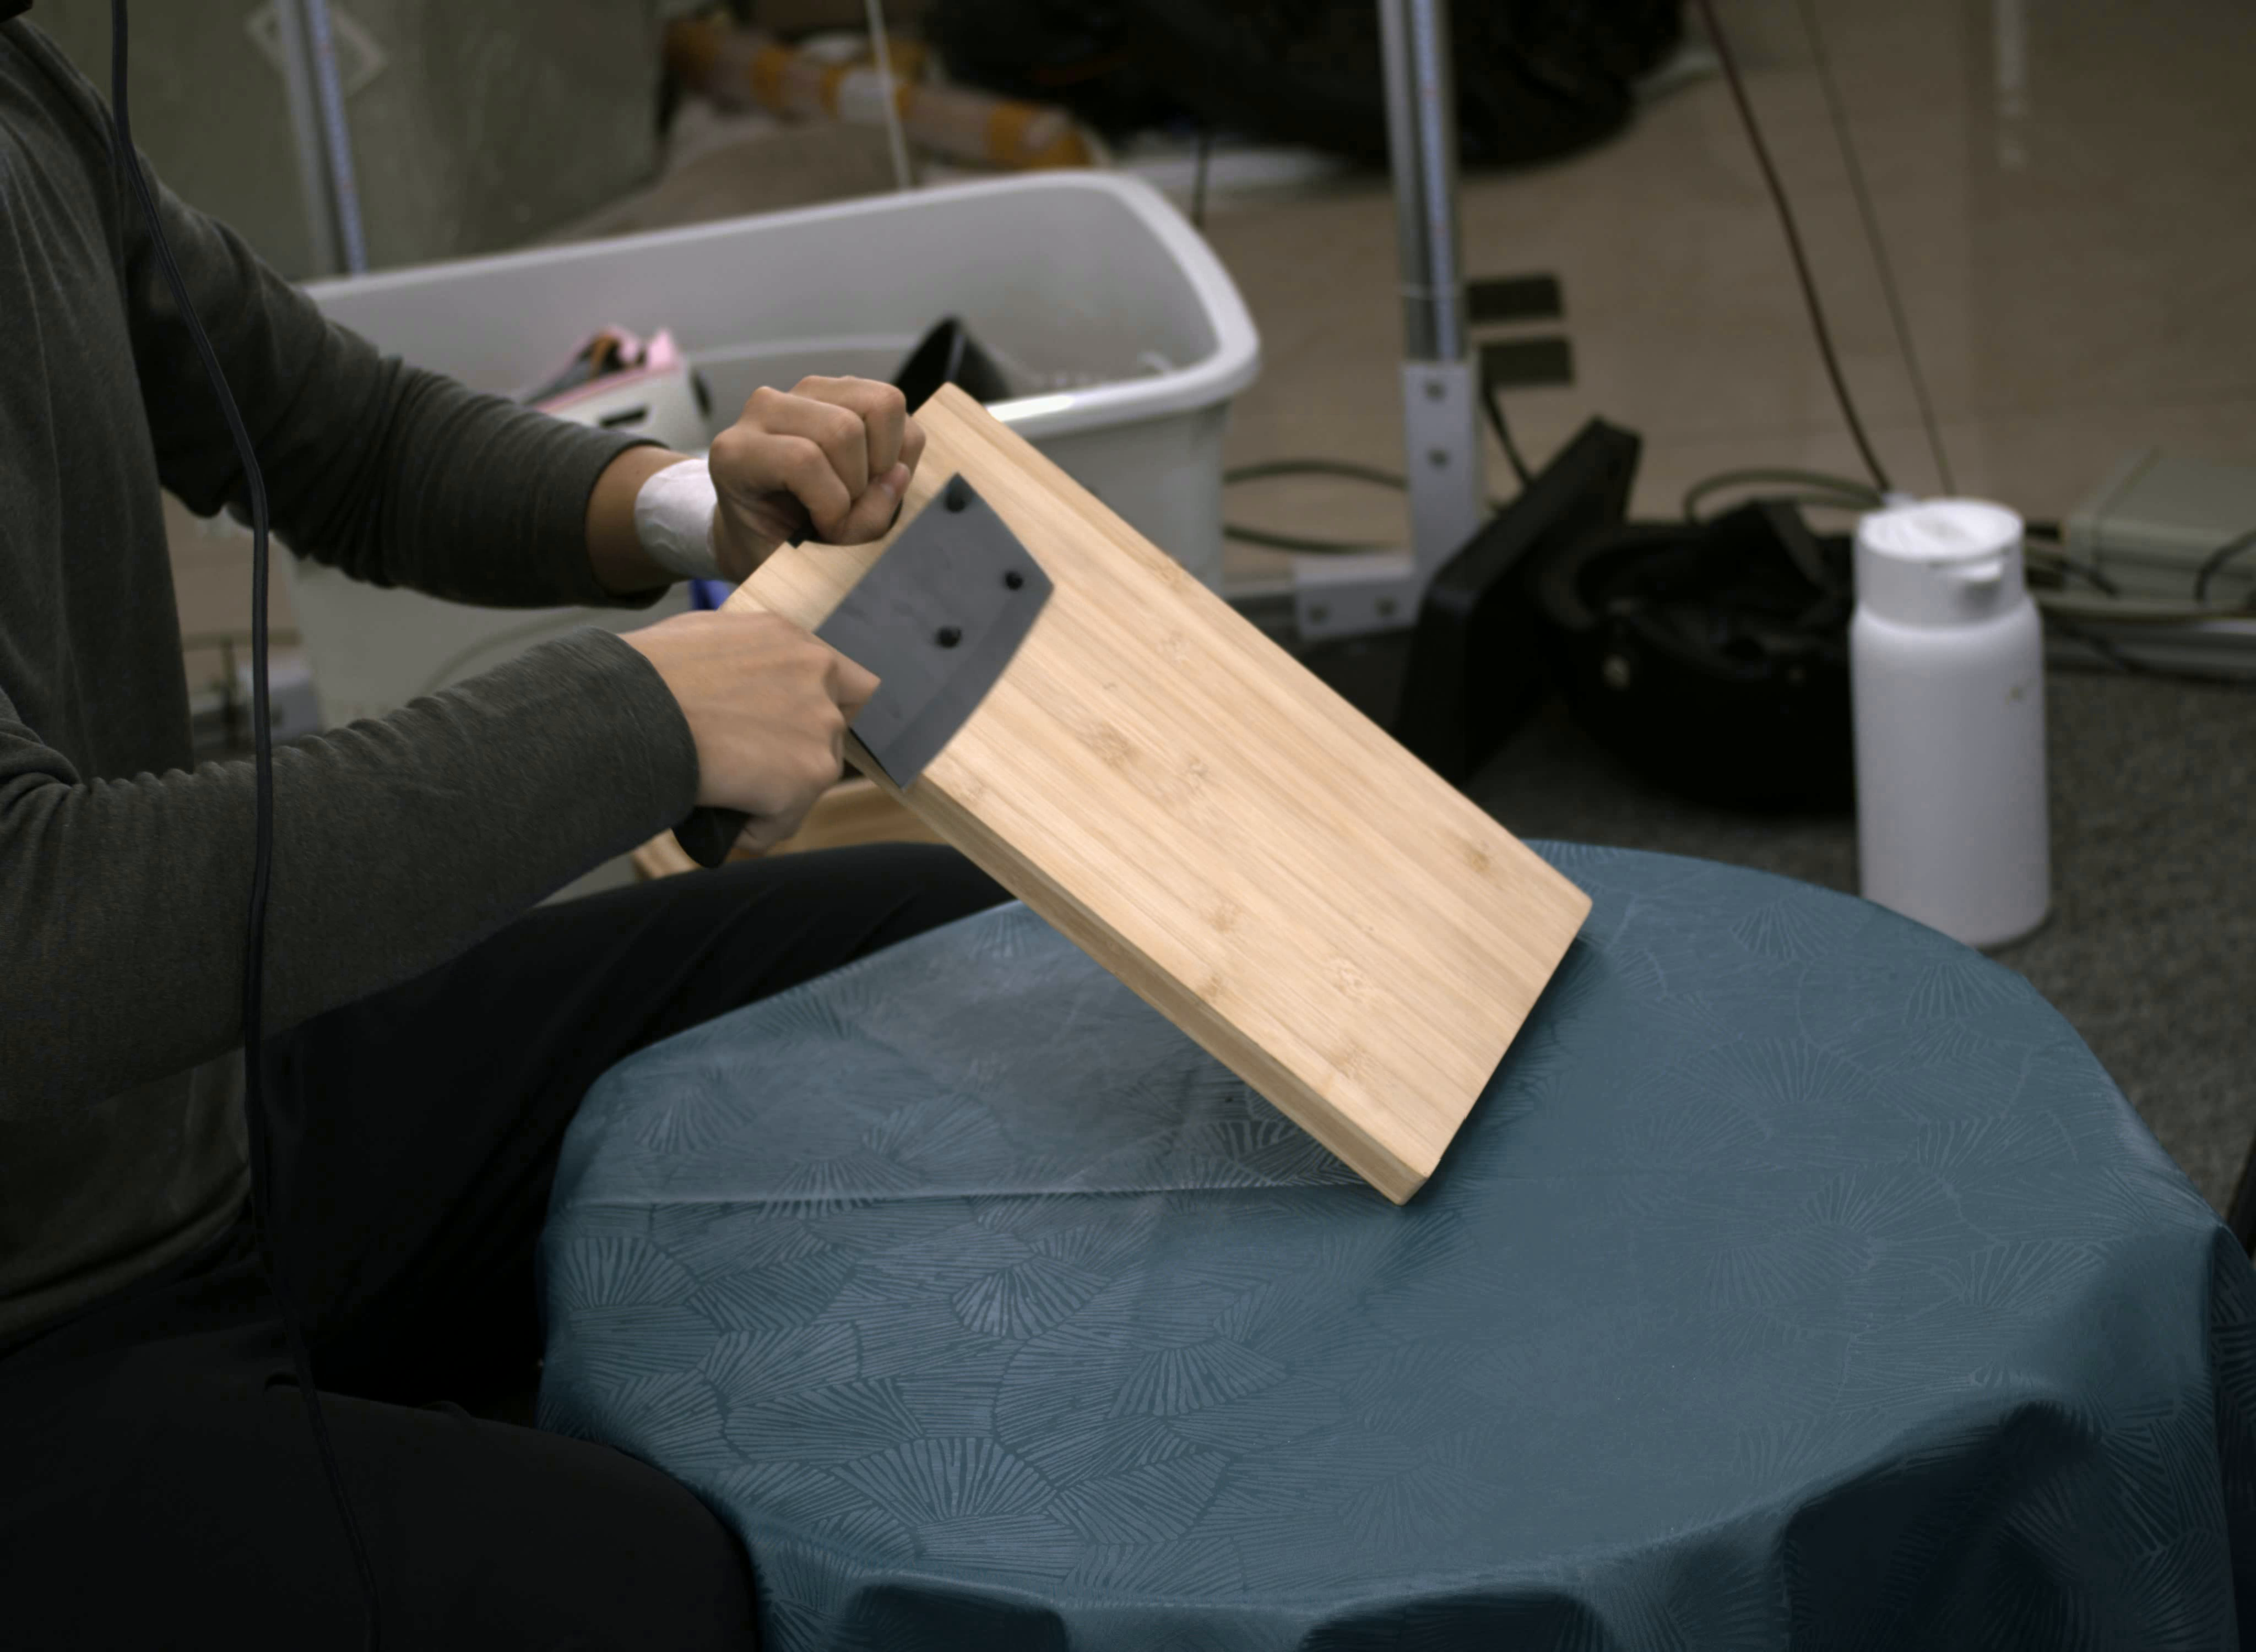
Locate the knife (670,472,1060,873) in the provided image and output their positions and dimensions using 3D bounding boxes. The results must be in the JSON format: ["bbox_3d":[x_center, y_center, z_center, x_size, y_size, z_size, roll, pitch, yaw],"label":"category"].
[{"bbox_3d":[-0.095,-0.053,2.103,0.021,0.081,0.298,-33,7,32],"label":"knife"}]

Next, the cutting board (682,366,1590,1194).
[{"bbox_3d":[0.010,-0.023,2.207,0.349,0.024,0.247,39,33,-2],"label":"cutting board"}]
